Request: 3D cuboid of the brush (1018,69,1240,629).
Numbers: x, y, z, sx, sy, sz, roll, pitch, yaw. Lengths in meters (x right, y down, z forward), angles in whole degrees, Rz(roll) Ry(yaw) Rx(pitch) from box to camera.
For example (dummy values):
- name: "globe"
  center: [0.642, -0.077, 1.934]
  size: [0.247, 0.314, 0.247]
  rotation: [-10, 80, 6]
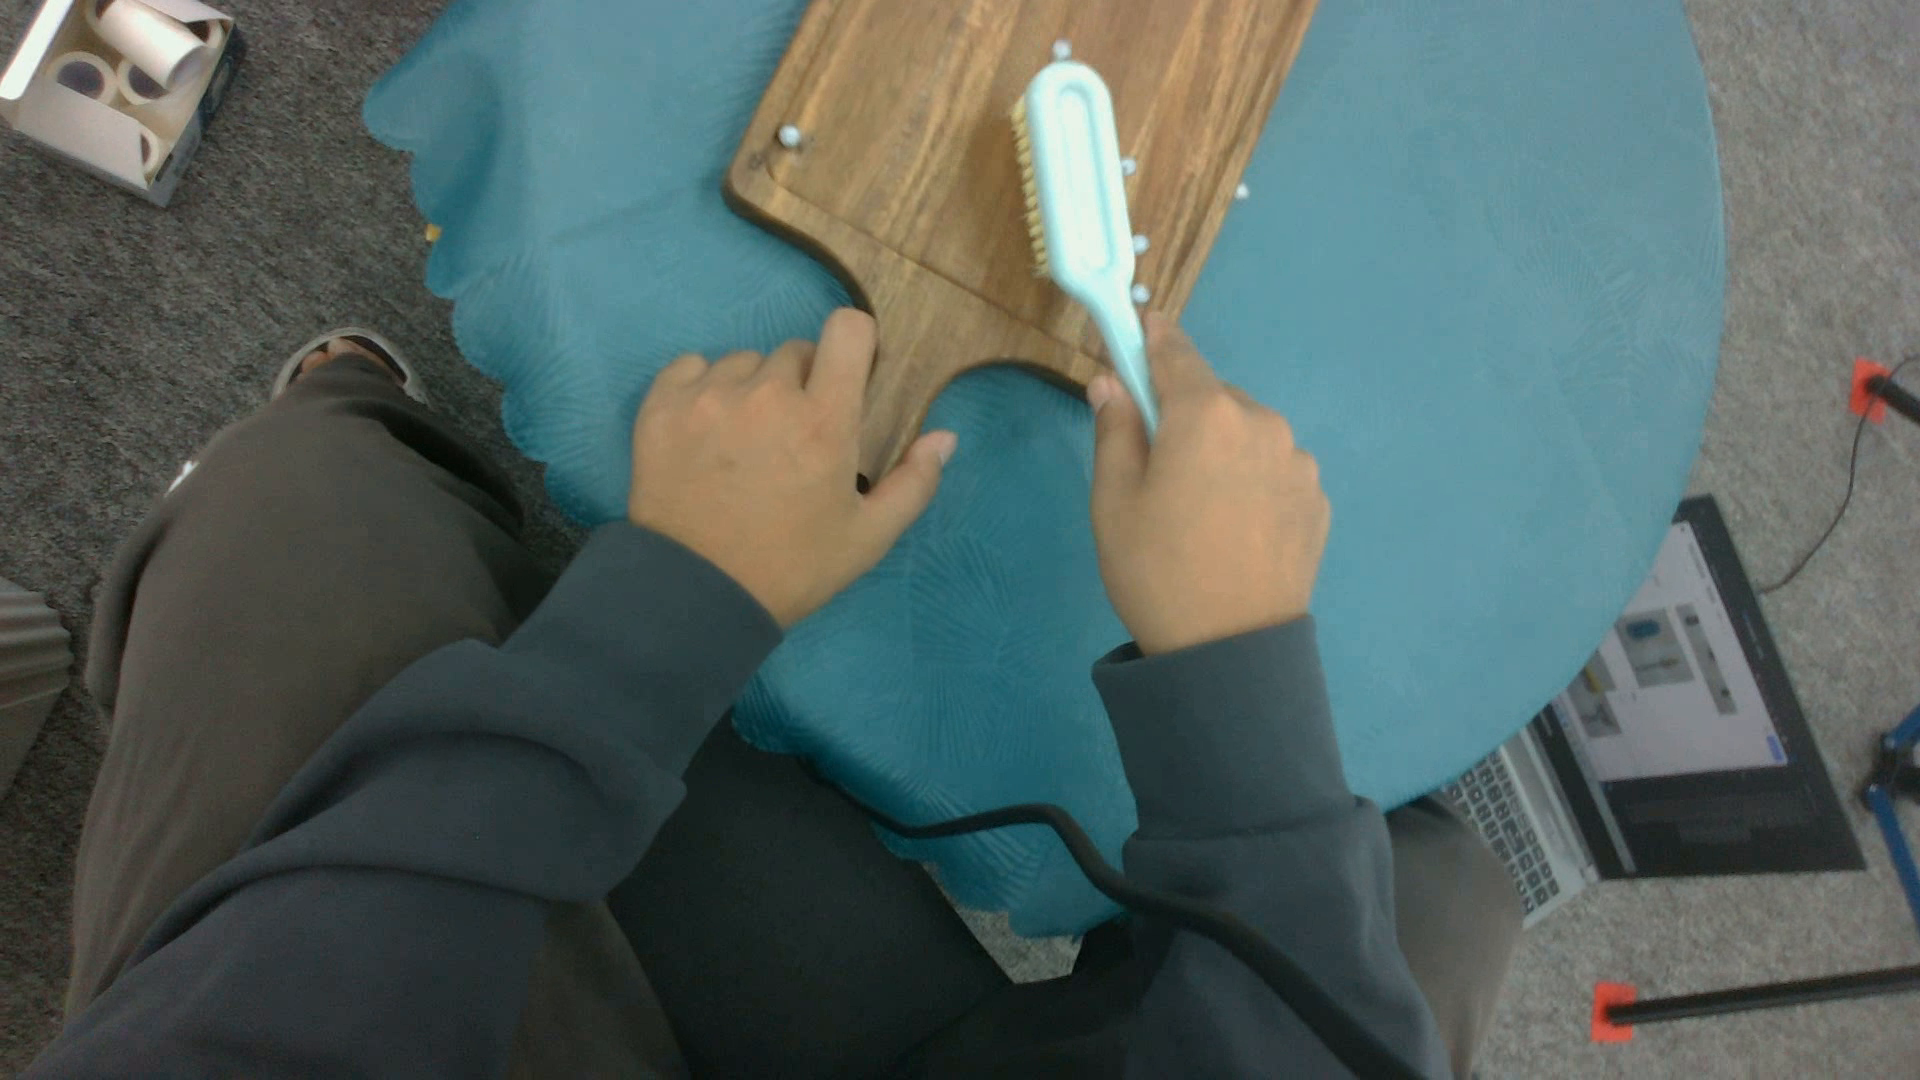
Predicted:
- name: "brush"
  center: [0.068, -0.075, 0.548]
  size: [0.038, 0.049, 0.229]
  rotation: [-13, 80, -21]

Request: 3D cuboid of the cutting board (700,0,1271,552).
- name: "cutting board"
  center: [0.006, -0.160, 0.589]
  size: [0.201, 0.023, 0.352]
  rotation: [23, 81, -15]
